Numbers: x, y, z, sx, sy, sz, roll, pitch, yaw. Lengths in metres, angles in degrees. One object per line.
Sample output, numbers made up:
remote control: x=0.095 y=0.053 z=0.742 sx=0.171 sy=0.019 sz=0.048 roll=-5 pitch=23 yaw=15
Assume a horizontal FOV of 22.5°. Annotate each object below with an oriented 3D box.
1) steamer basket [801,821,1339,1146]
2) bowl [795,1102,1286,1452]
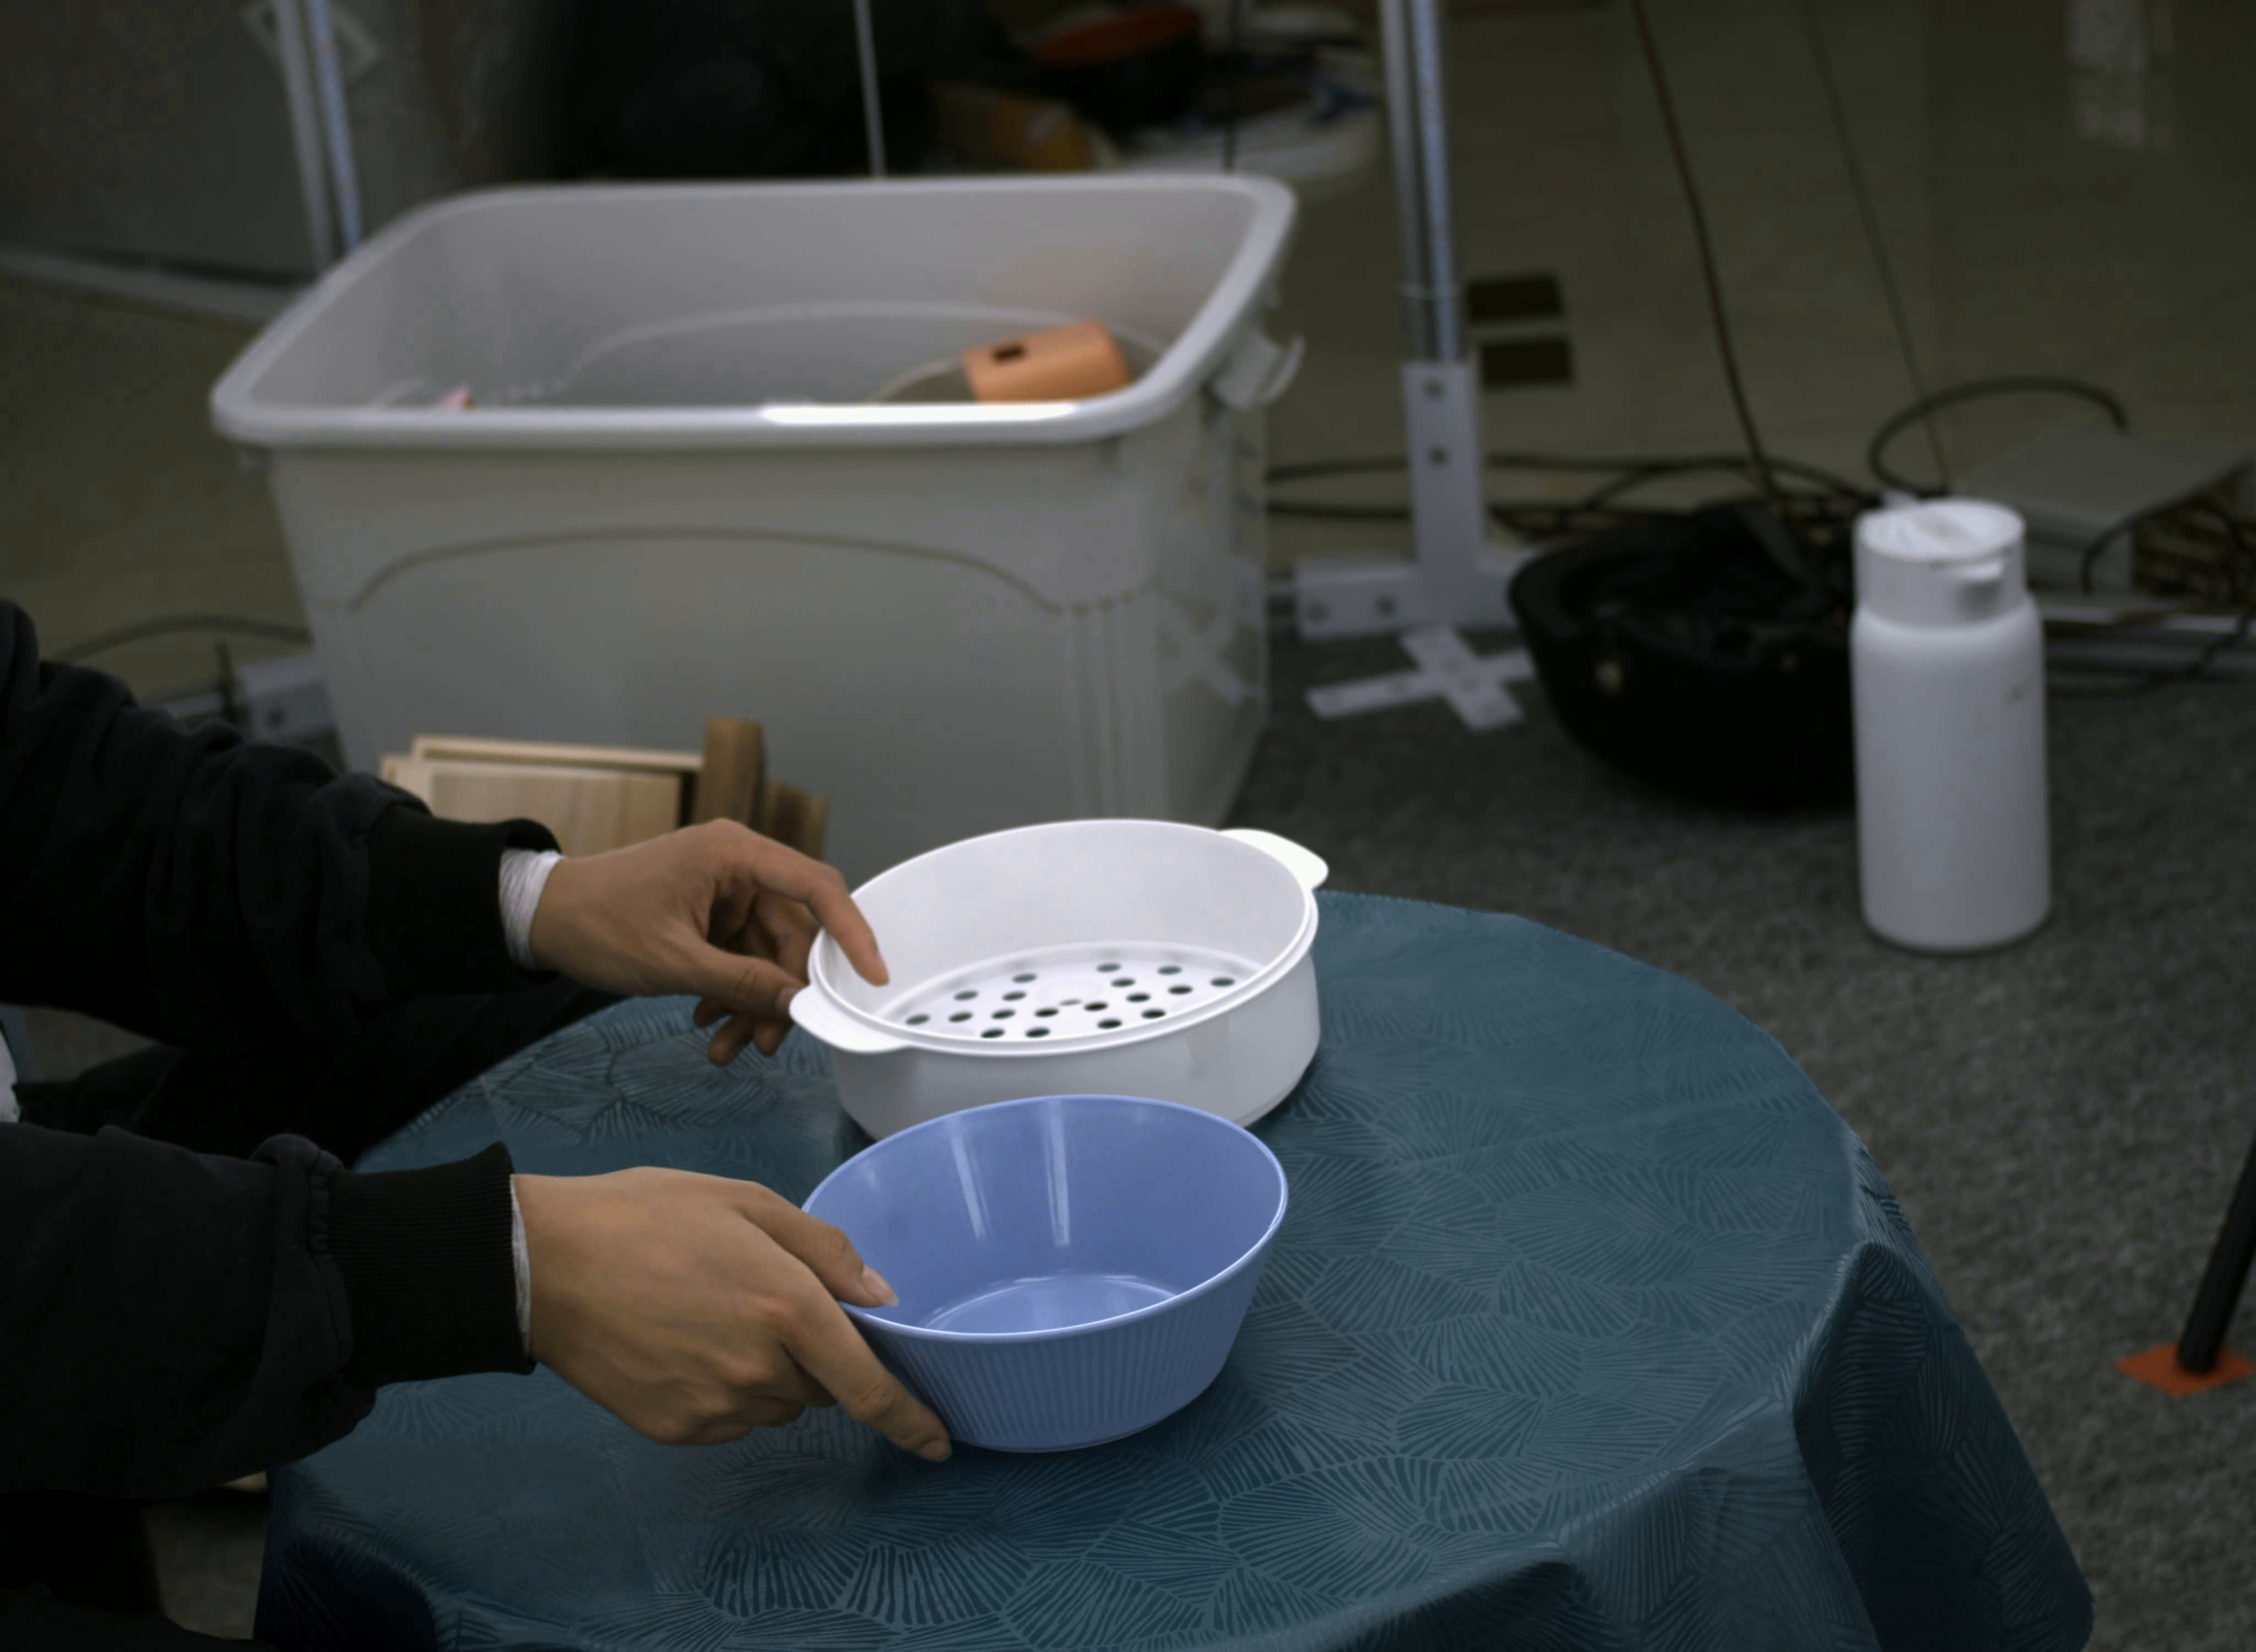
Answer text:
steamer basket: x=-0.019 y=0.067 z=2.229 sx=0.229 sy=0.070 sz=0.200 roll=-19 pitch=28 yaw=-29
bowl: x=-0.028 y=0.166 z=2.017 sx=0.176 sy=0.071 sz=0.173 roll=-5 pitch=24 yaw=2
